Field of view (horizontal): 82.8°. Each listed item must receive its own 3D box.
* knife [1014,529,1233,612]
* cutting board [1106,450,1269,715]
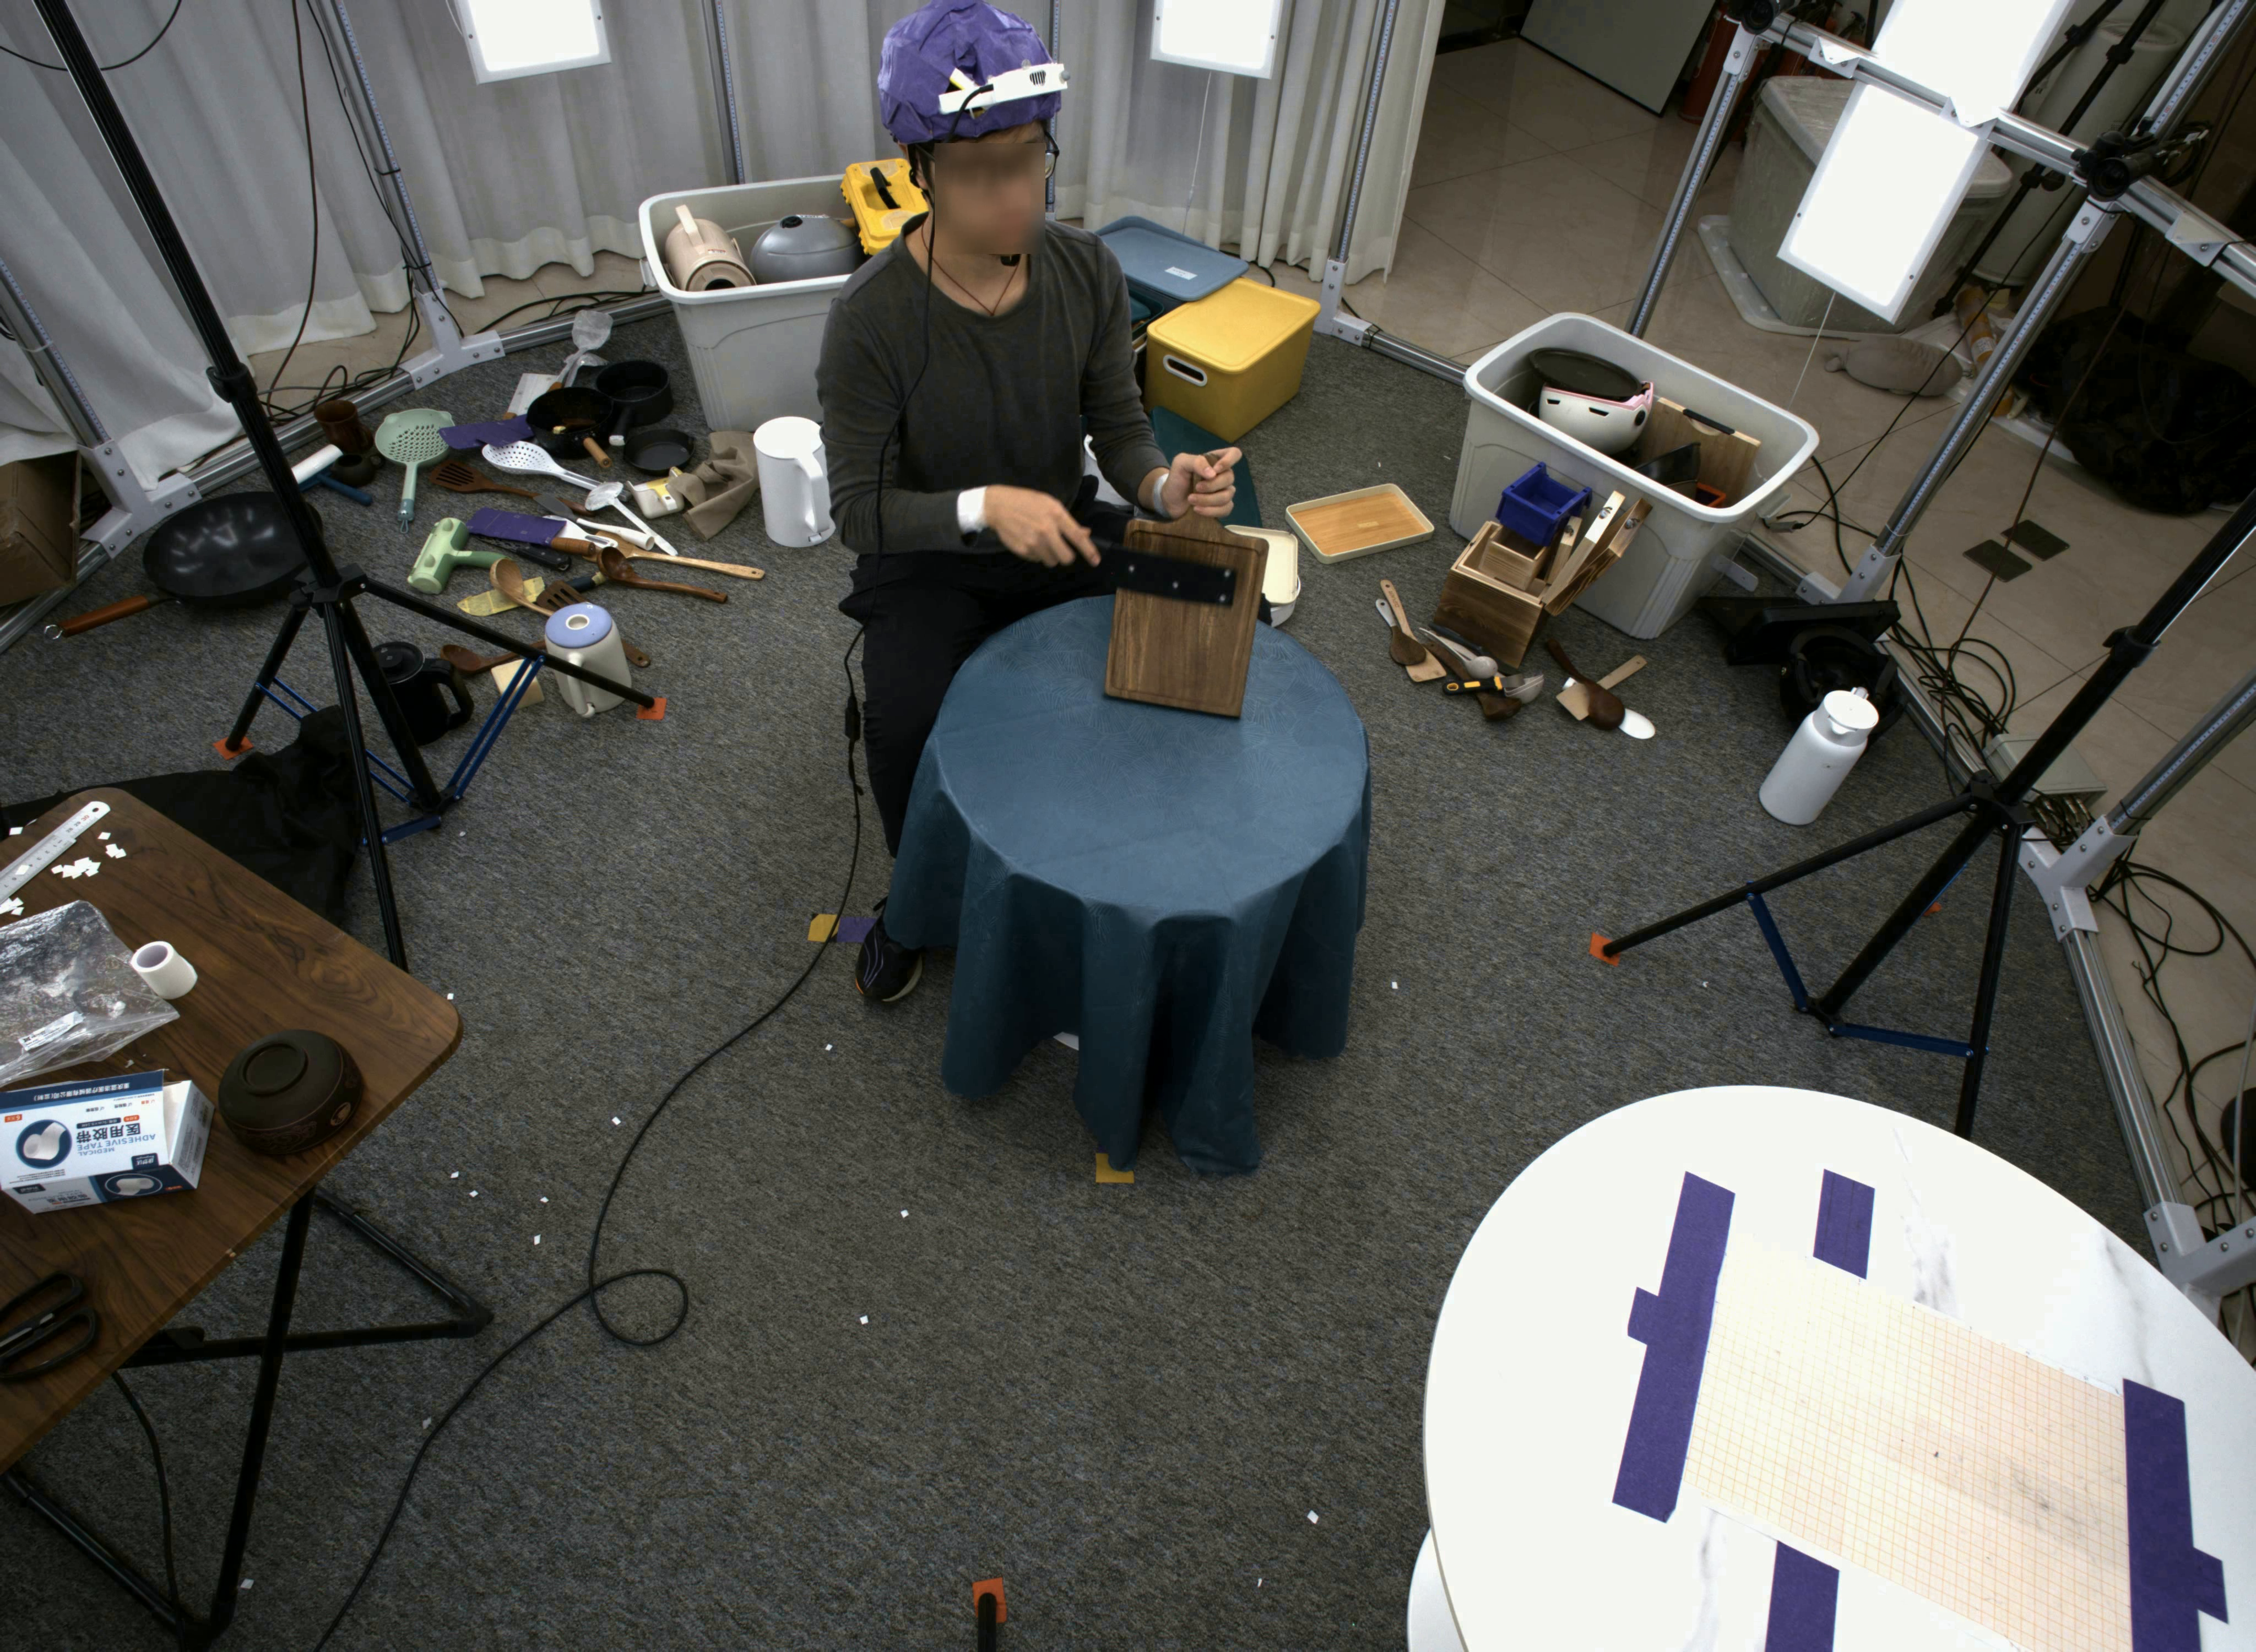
[{"bbox_3d":[-0.007,-0.340,1.705,0.303,0.079,0.021,17,43,8],"label":"knife"},{"bbox_3d":[0.085,-0.332,1.756,0.201,0.347,0.023,10,20,5],"label":"cutting board"}]
